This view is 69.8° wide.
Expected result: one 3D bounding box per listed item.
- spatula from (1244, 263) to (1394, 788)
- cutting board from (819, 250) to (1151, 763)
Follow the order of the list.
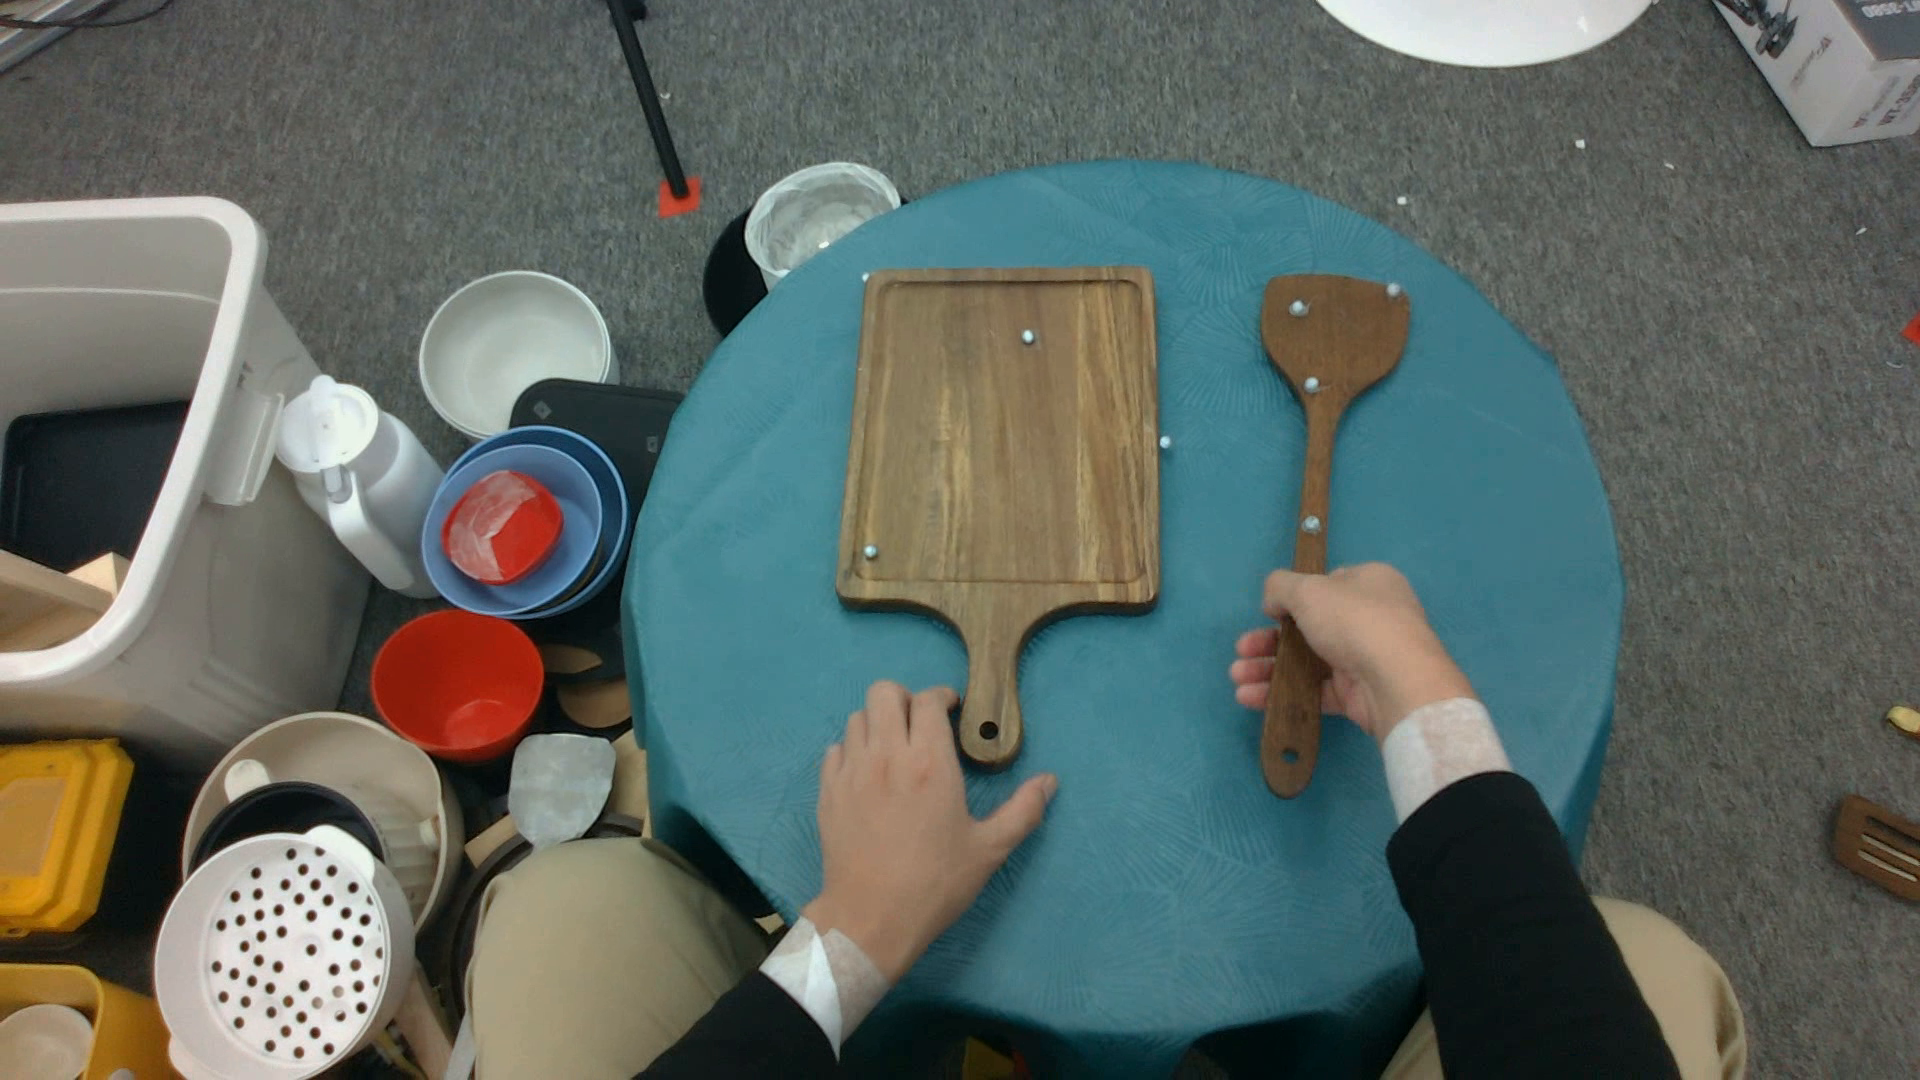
[{"bbox_3d":[0.203,-0.029,0.818,0.096,0.016,0.388,9,55,8],"label":"spatula"},{"bbox_3d":[0.015,-0.034,0.853,0.201,0.023,0.353,0,63,4],"label":"cutting board"}]
